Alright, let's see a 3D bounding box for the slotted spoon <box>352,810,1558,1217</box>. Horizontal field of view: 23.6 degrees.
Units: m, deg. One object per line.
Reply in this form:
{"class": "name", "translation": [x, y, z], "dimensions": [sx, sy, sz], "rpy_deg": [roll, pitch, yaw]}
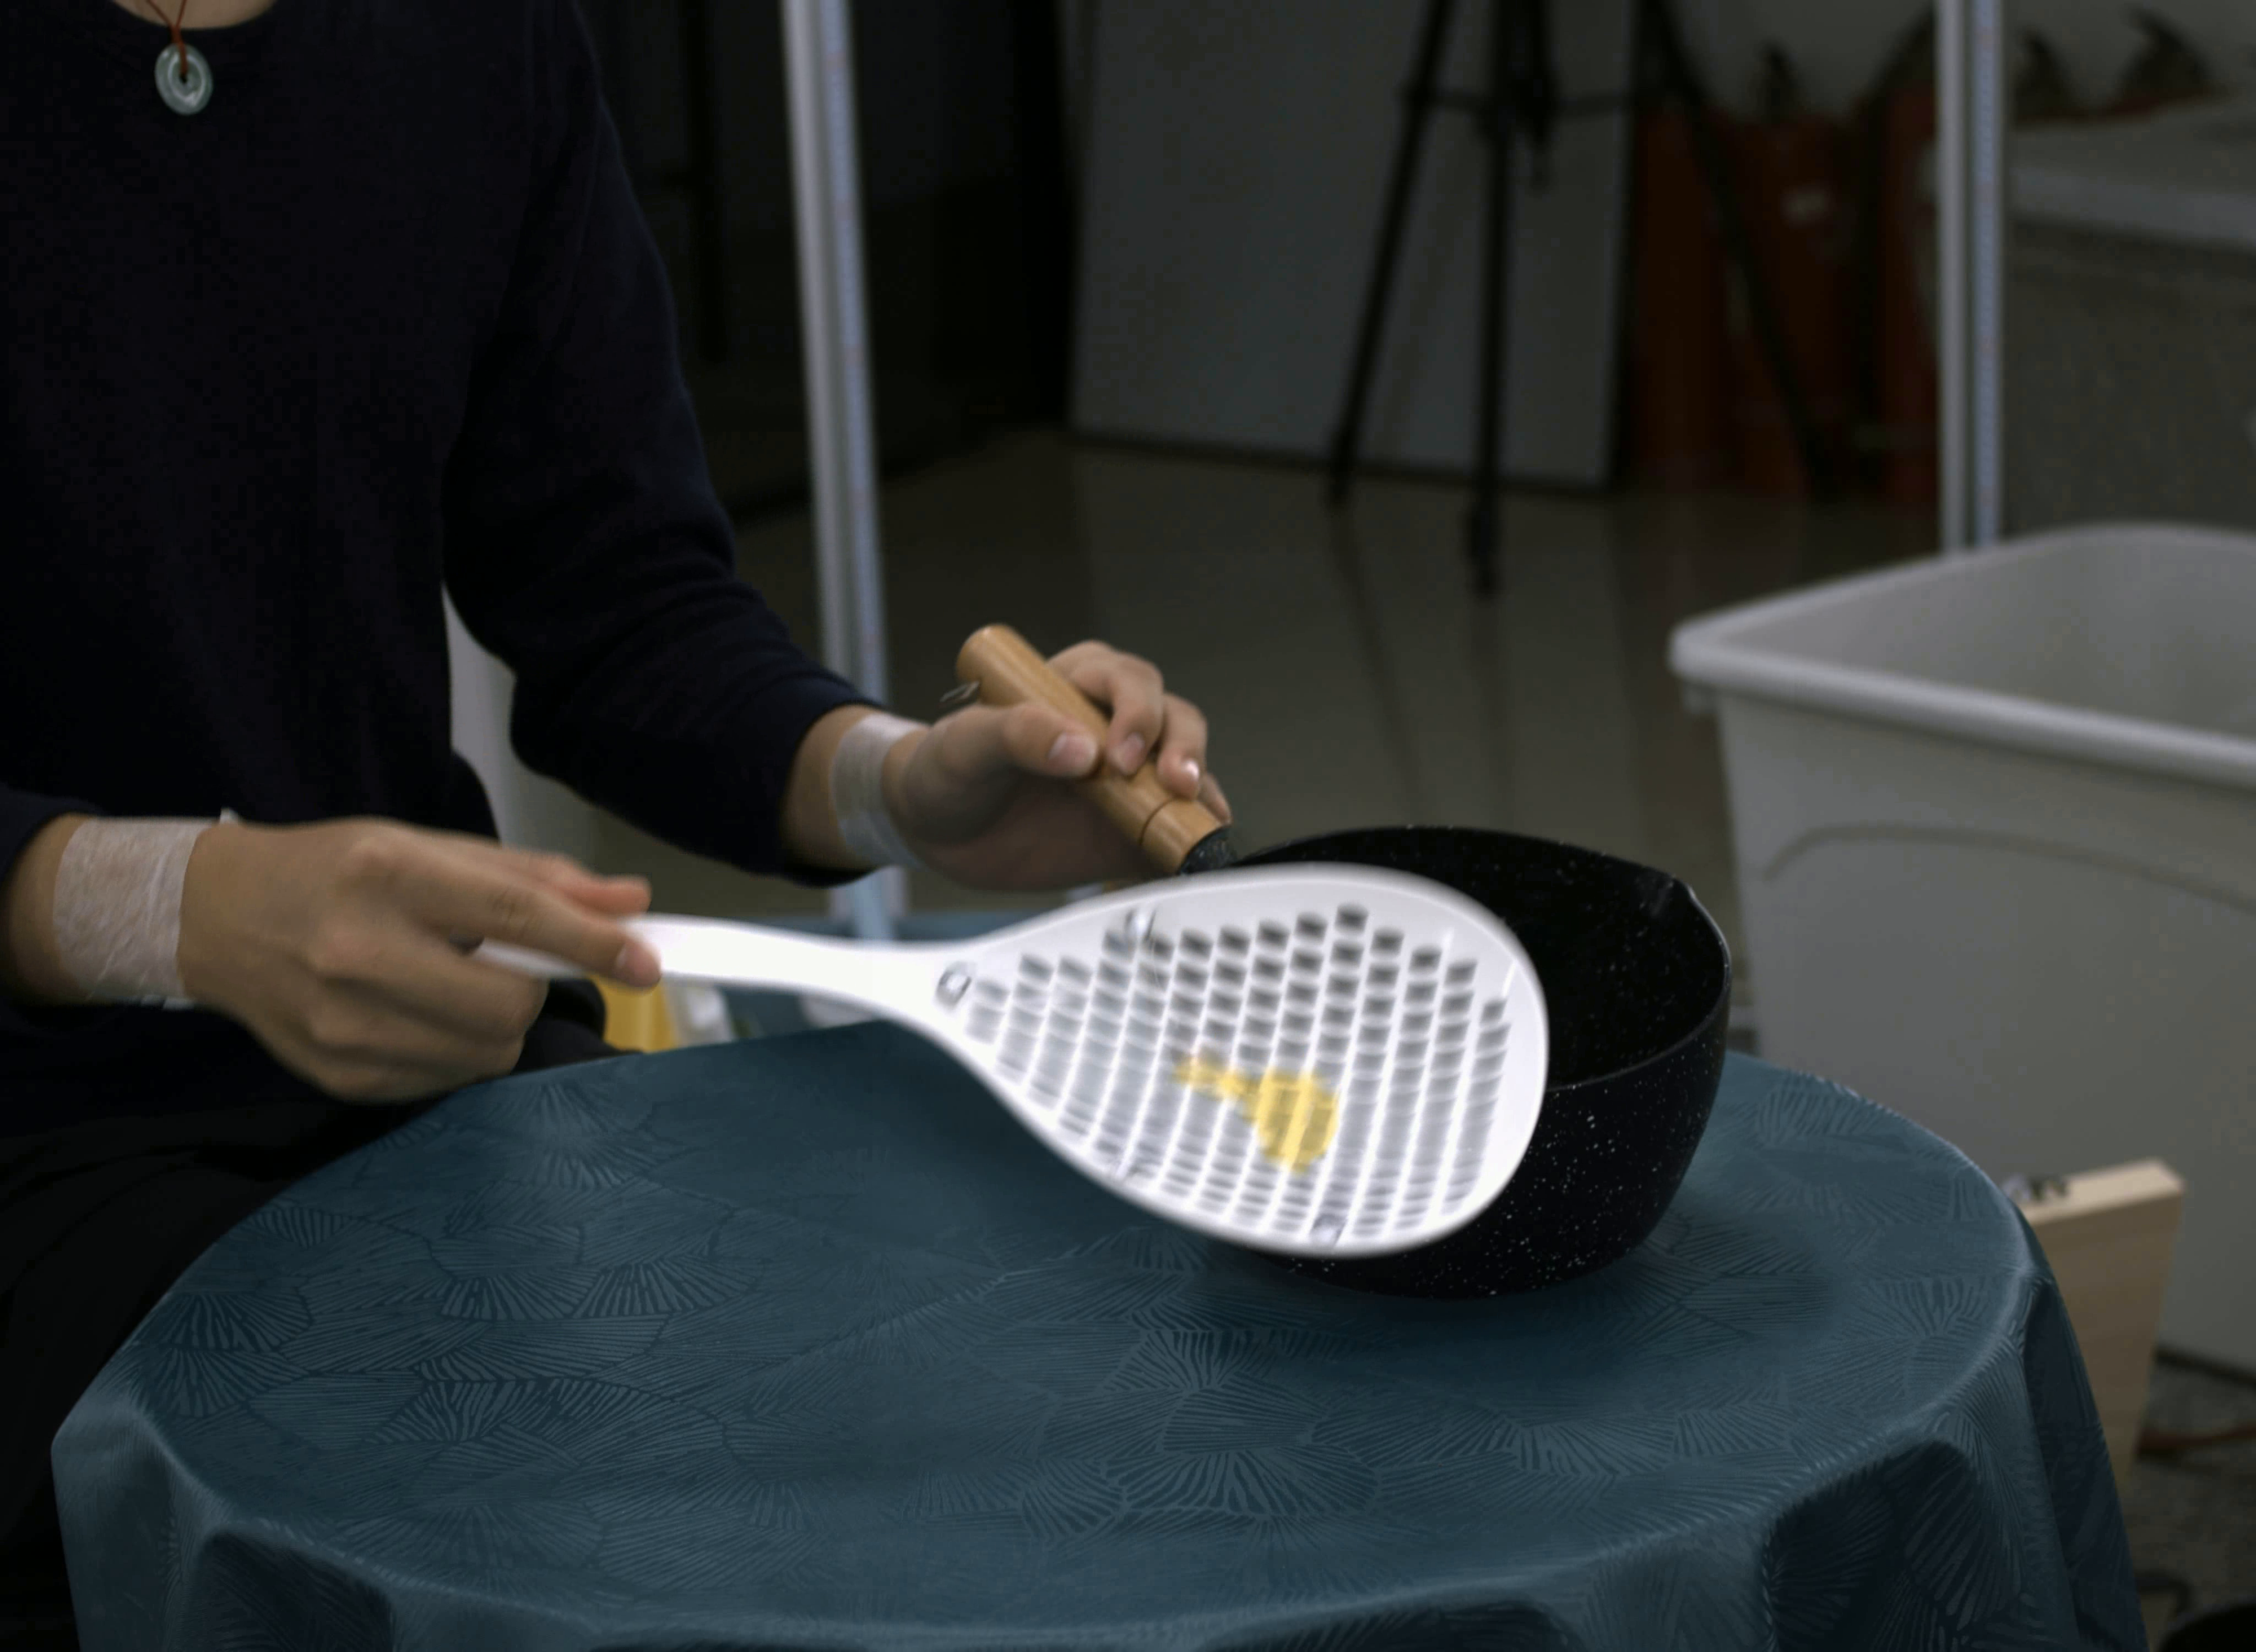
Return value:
{"class": "slotted spoon", "translation": [-0.051, 0.045, 1.535], "dimensions": [0.344, 0.050, 0.138], "rpy_deg": [9, 54, 3]}

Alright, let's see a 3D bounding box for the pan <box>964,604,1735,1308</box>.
{"class": "pan", "translation": [0.050, 0.036, 1.743], "dimensions": [0.203, 0.109, 0.346], "rpy_deg": [-20, 33, -32]}
